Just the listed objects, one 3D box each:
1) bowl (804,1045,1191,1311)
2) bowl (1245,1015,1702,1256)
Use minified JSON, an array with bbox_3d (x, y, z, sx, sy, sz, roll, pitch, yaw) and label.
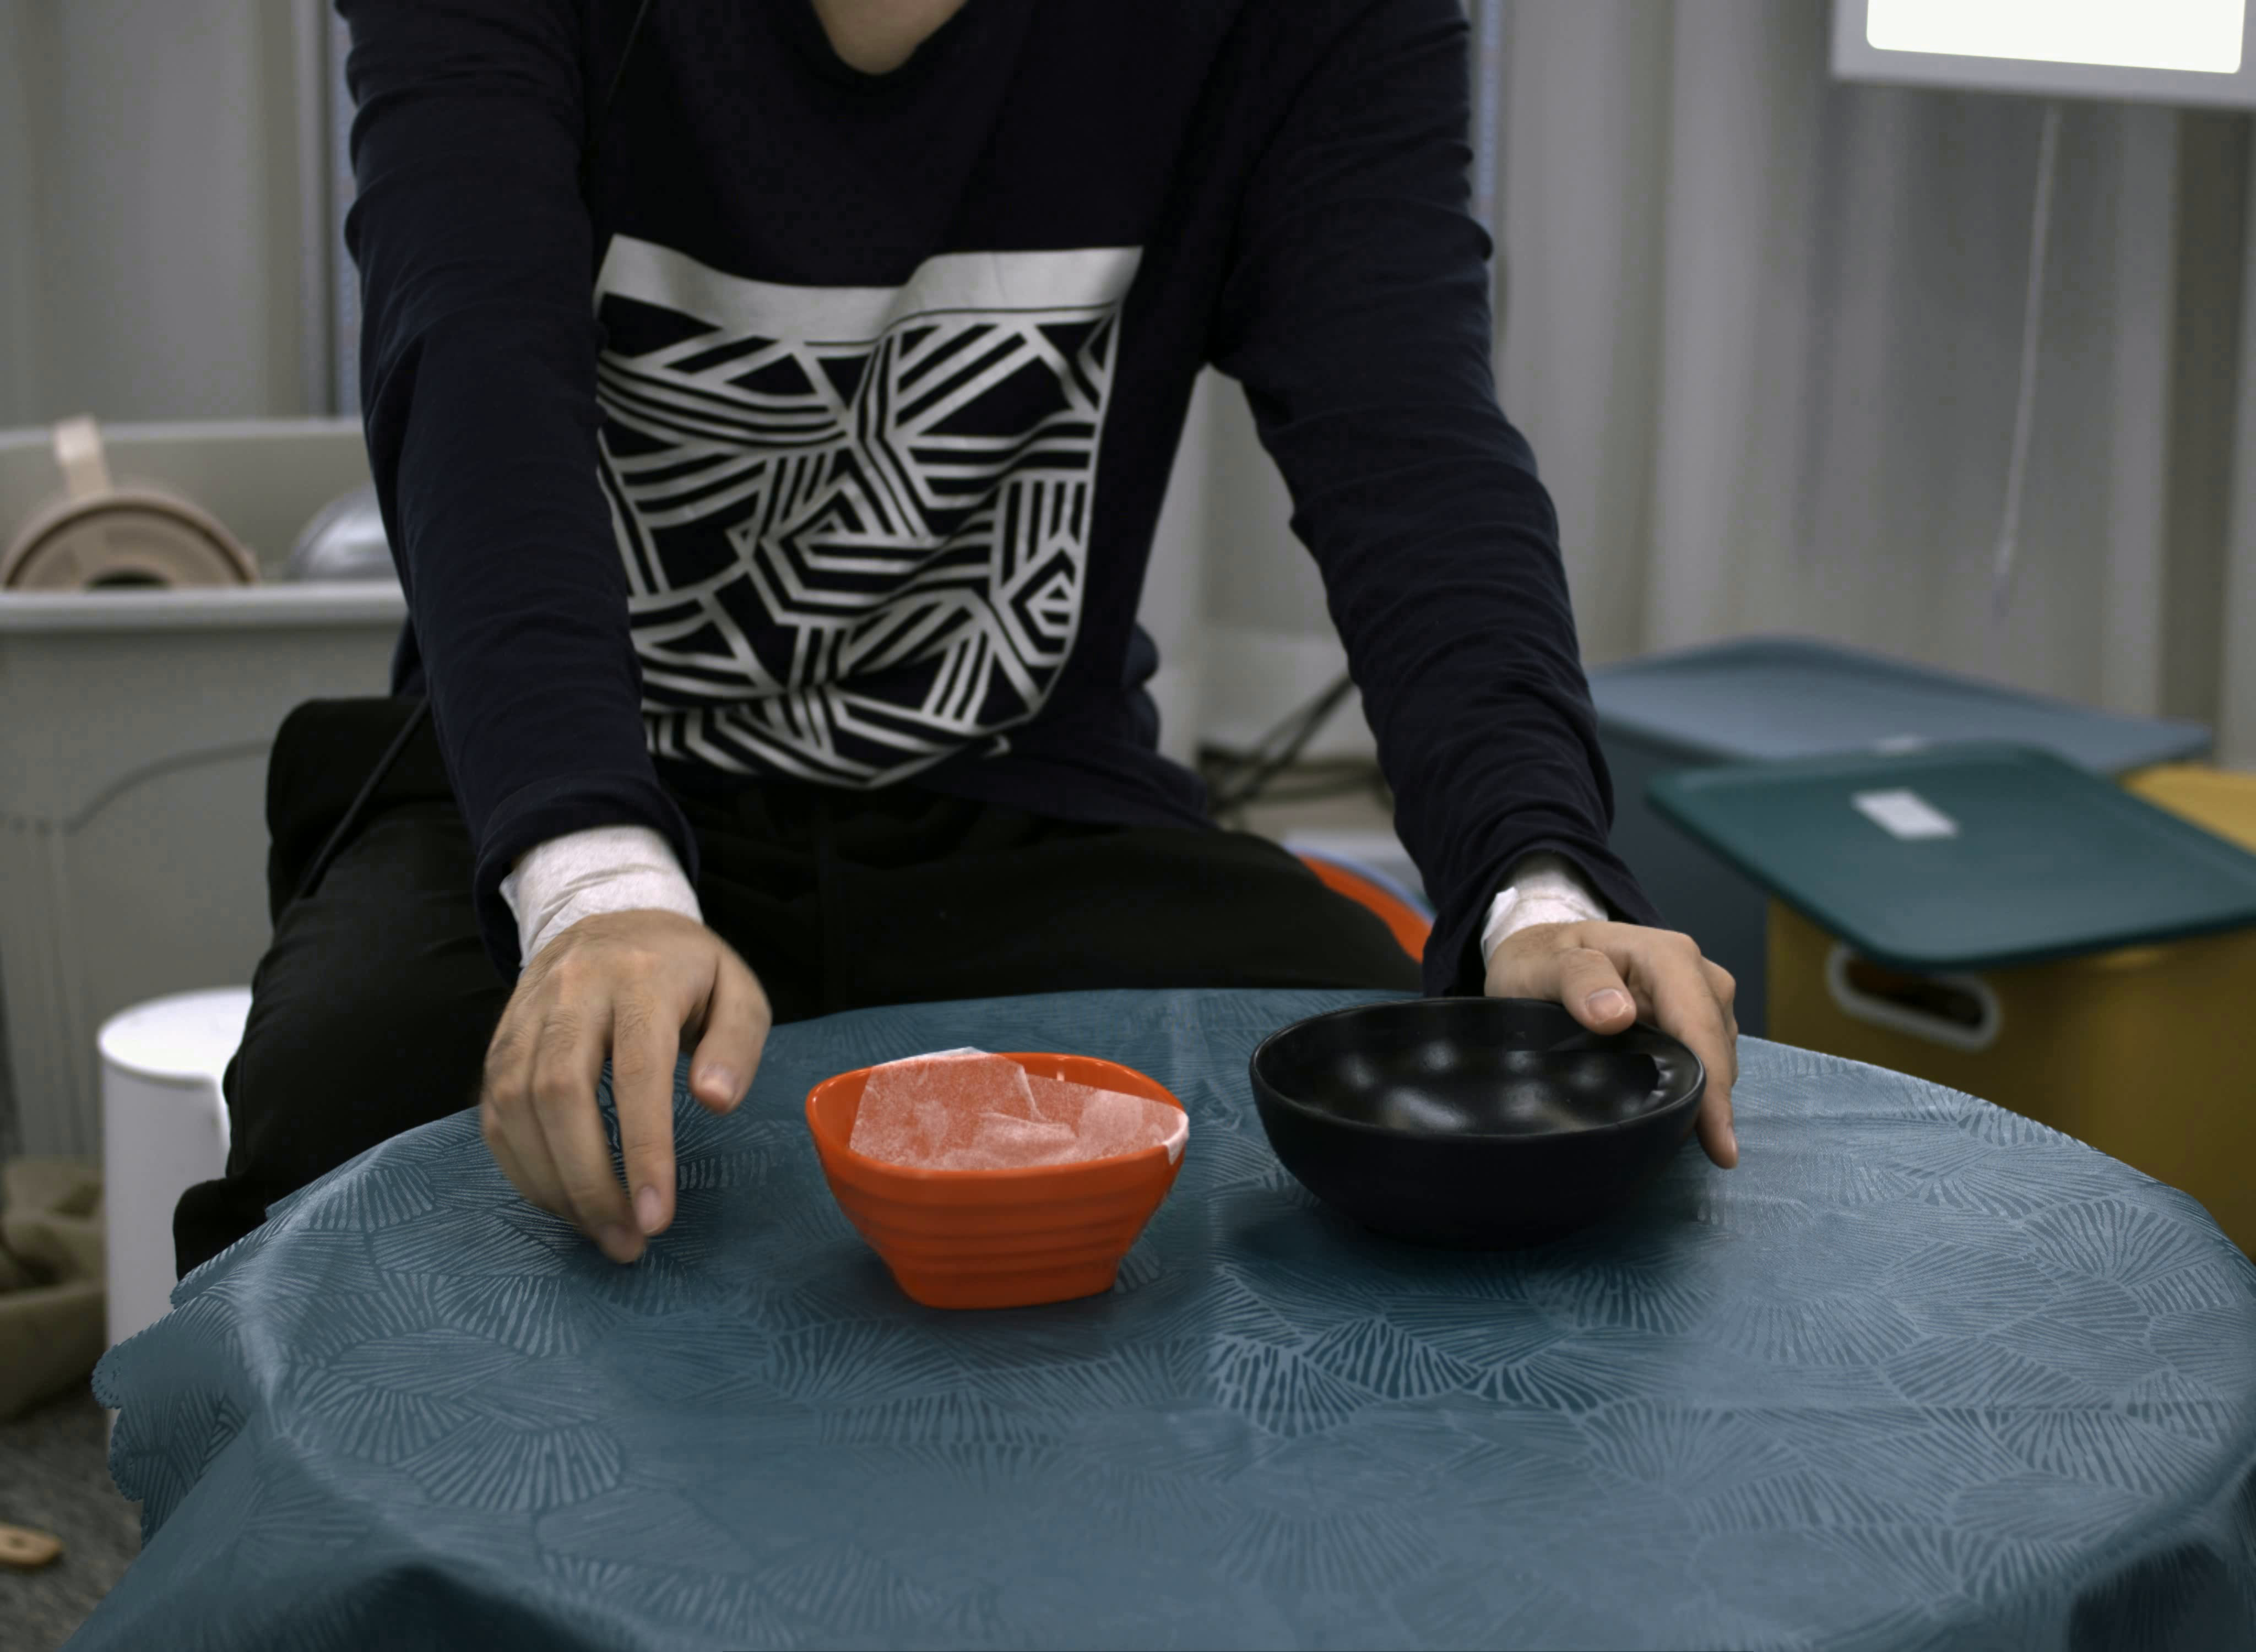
[{"bbox_3d":[-0.039,0.106,1.550,0.118,0.052,0.118,0,17,1],"label":"bowl"},{"bbox_3d":[0.105,0.097,1.601,0.139,0.050,0.139,0,12,1],"label":"bowl"}]
